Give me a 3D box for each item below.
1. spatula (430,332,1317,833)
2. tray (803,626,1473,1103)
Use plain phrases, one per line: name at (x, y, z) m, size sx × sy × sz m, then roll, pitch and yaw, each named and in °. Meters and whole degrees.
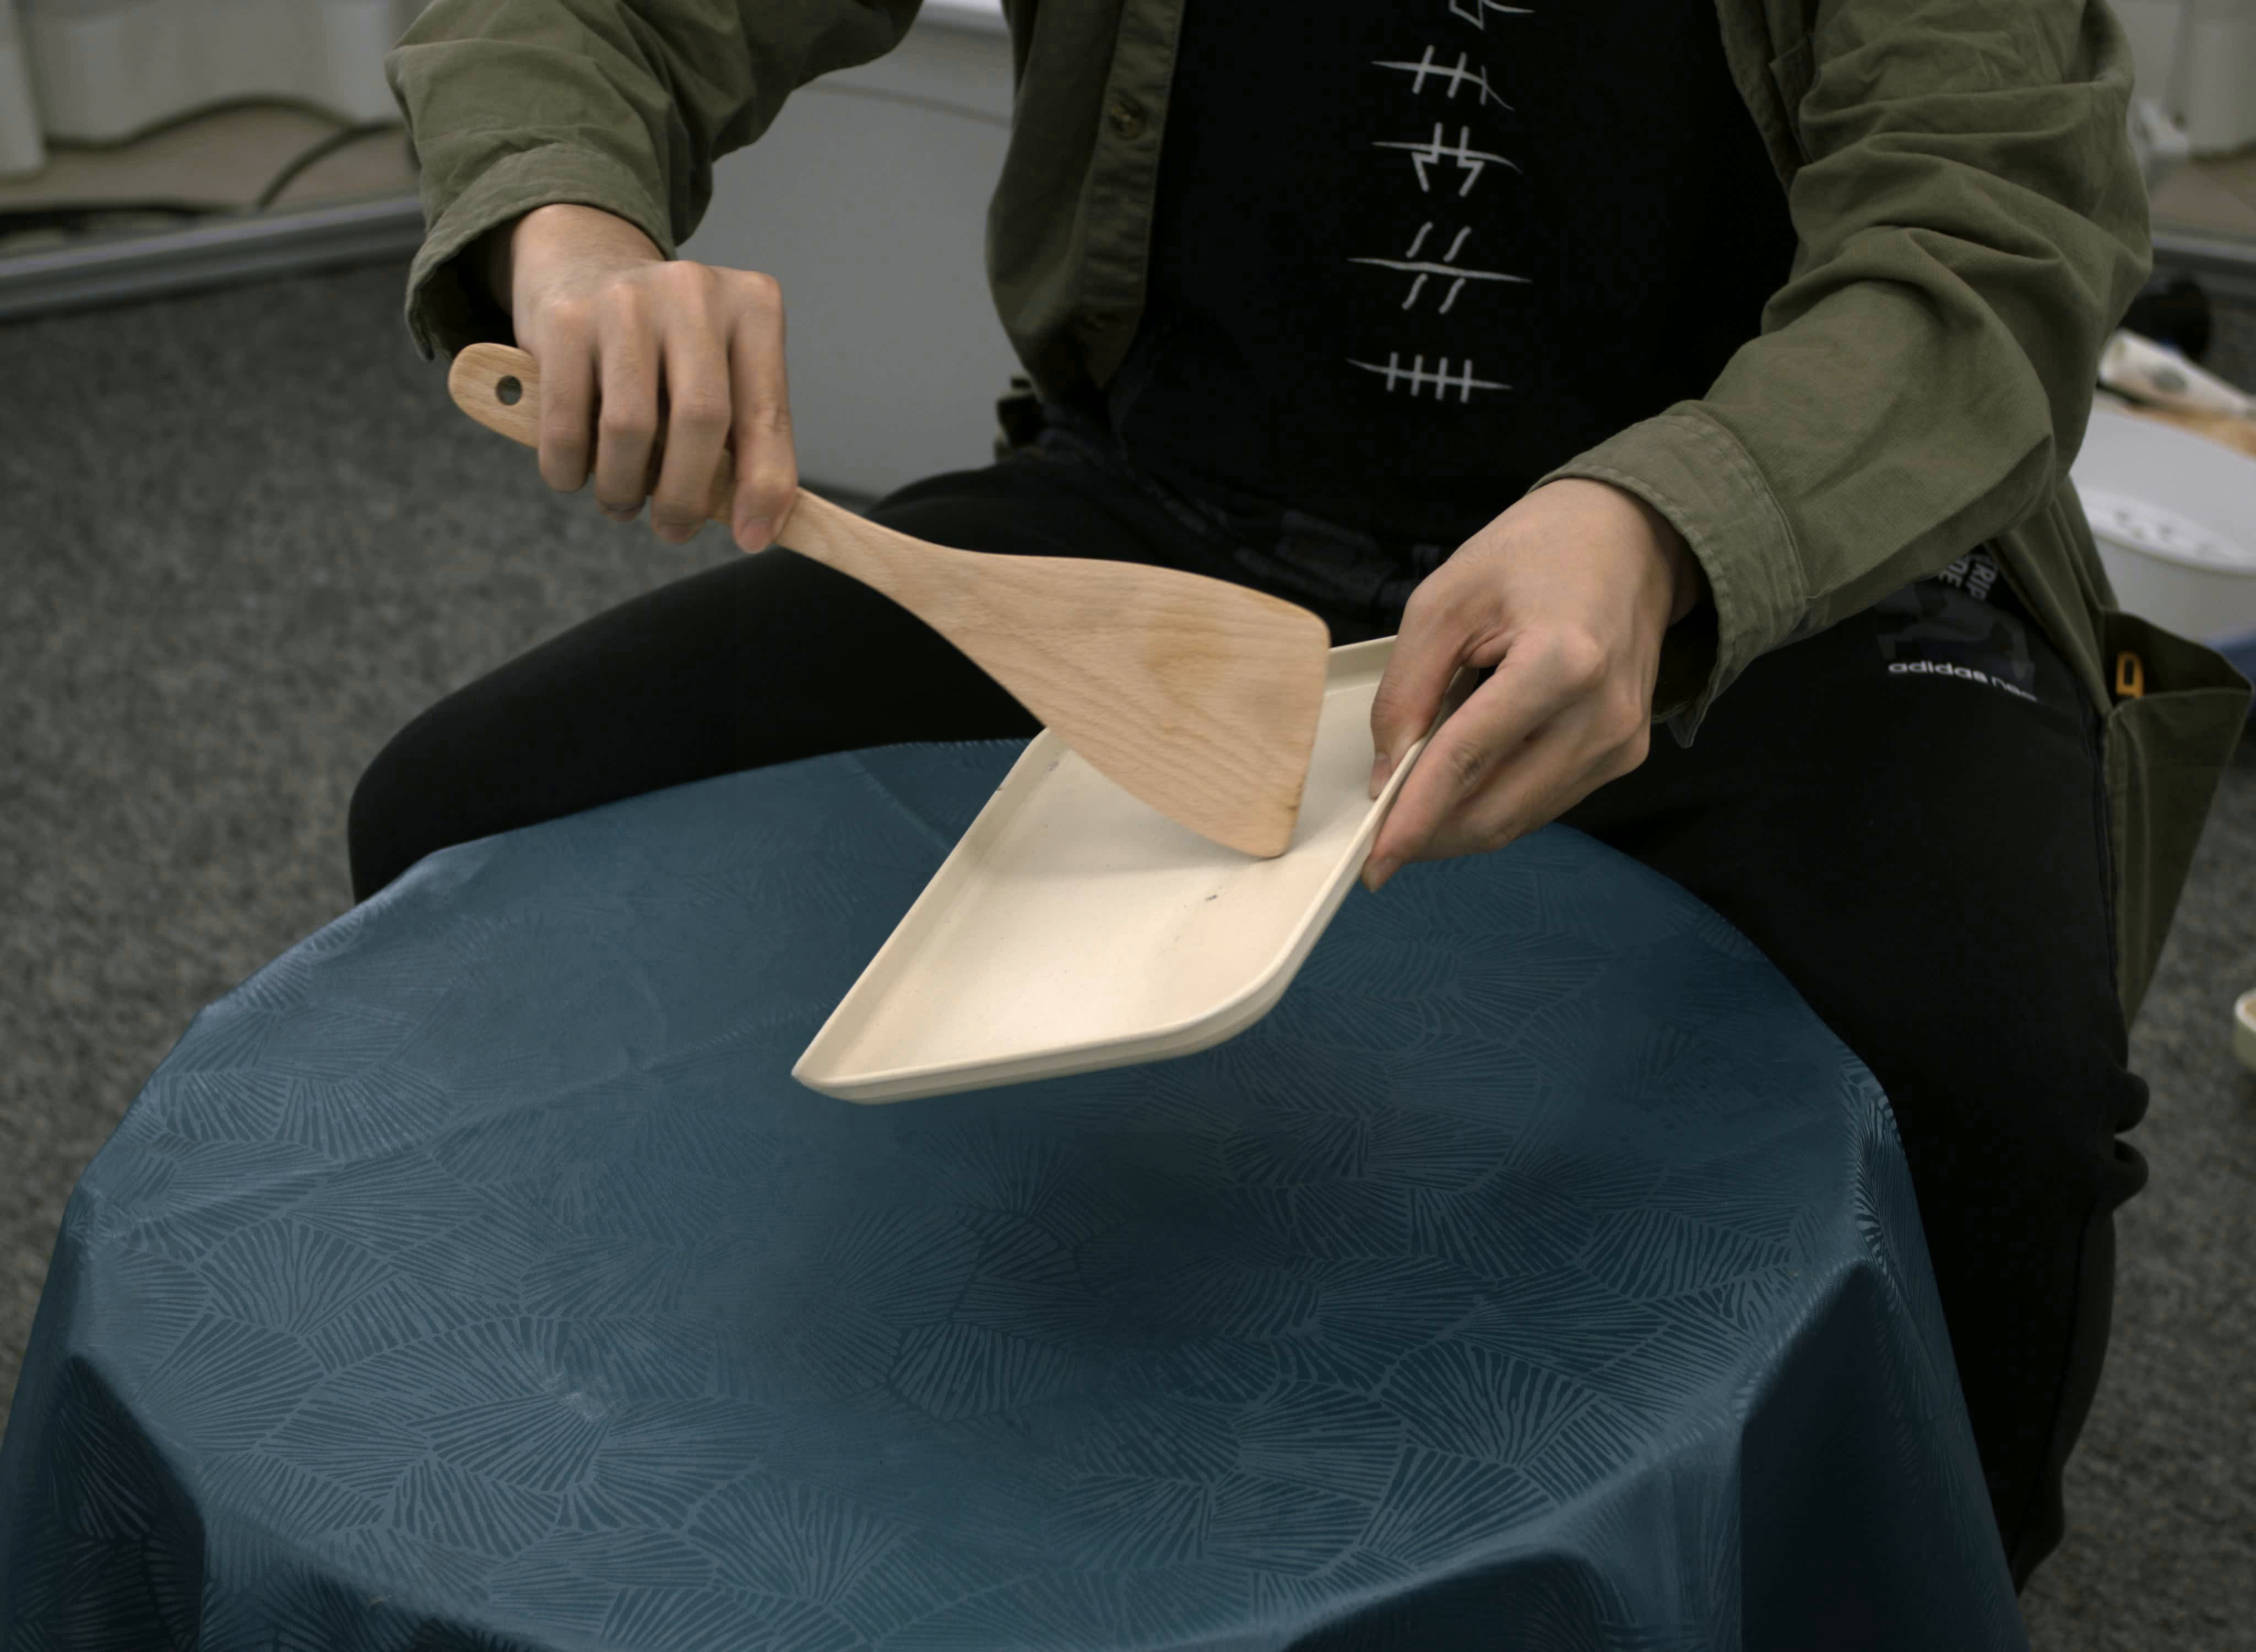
spatula at (-0.085, -0.092, 1.806) m, size 0.327 × 0.080 × 0.016 m, roll 23°, pitch 8°, yaw 15°
tray at (0.007, 0.012, 1.775) m, size 0.169 × 0.017 × 0.244 m, roll -10°, pitch 26°, yaw 30°
